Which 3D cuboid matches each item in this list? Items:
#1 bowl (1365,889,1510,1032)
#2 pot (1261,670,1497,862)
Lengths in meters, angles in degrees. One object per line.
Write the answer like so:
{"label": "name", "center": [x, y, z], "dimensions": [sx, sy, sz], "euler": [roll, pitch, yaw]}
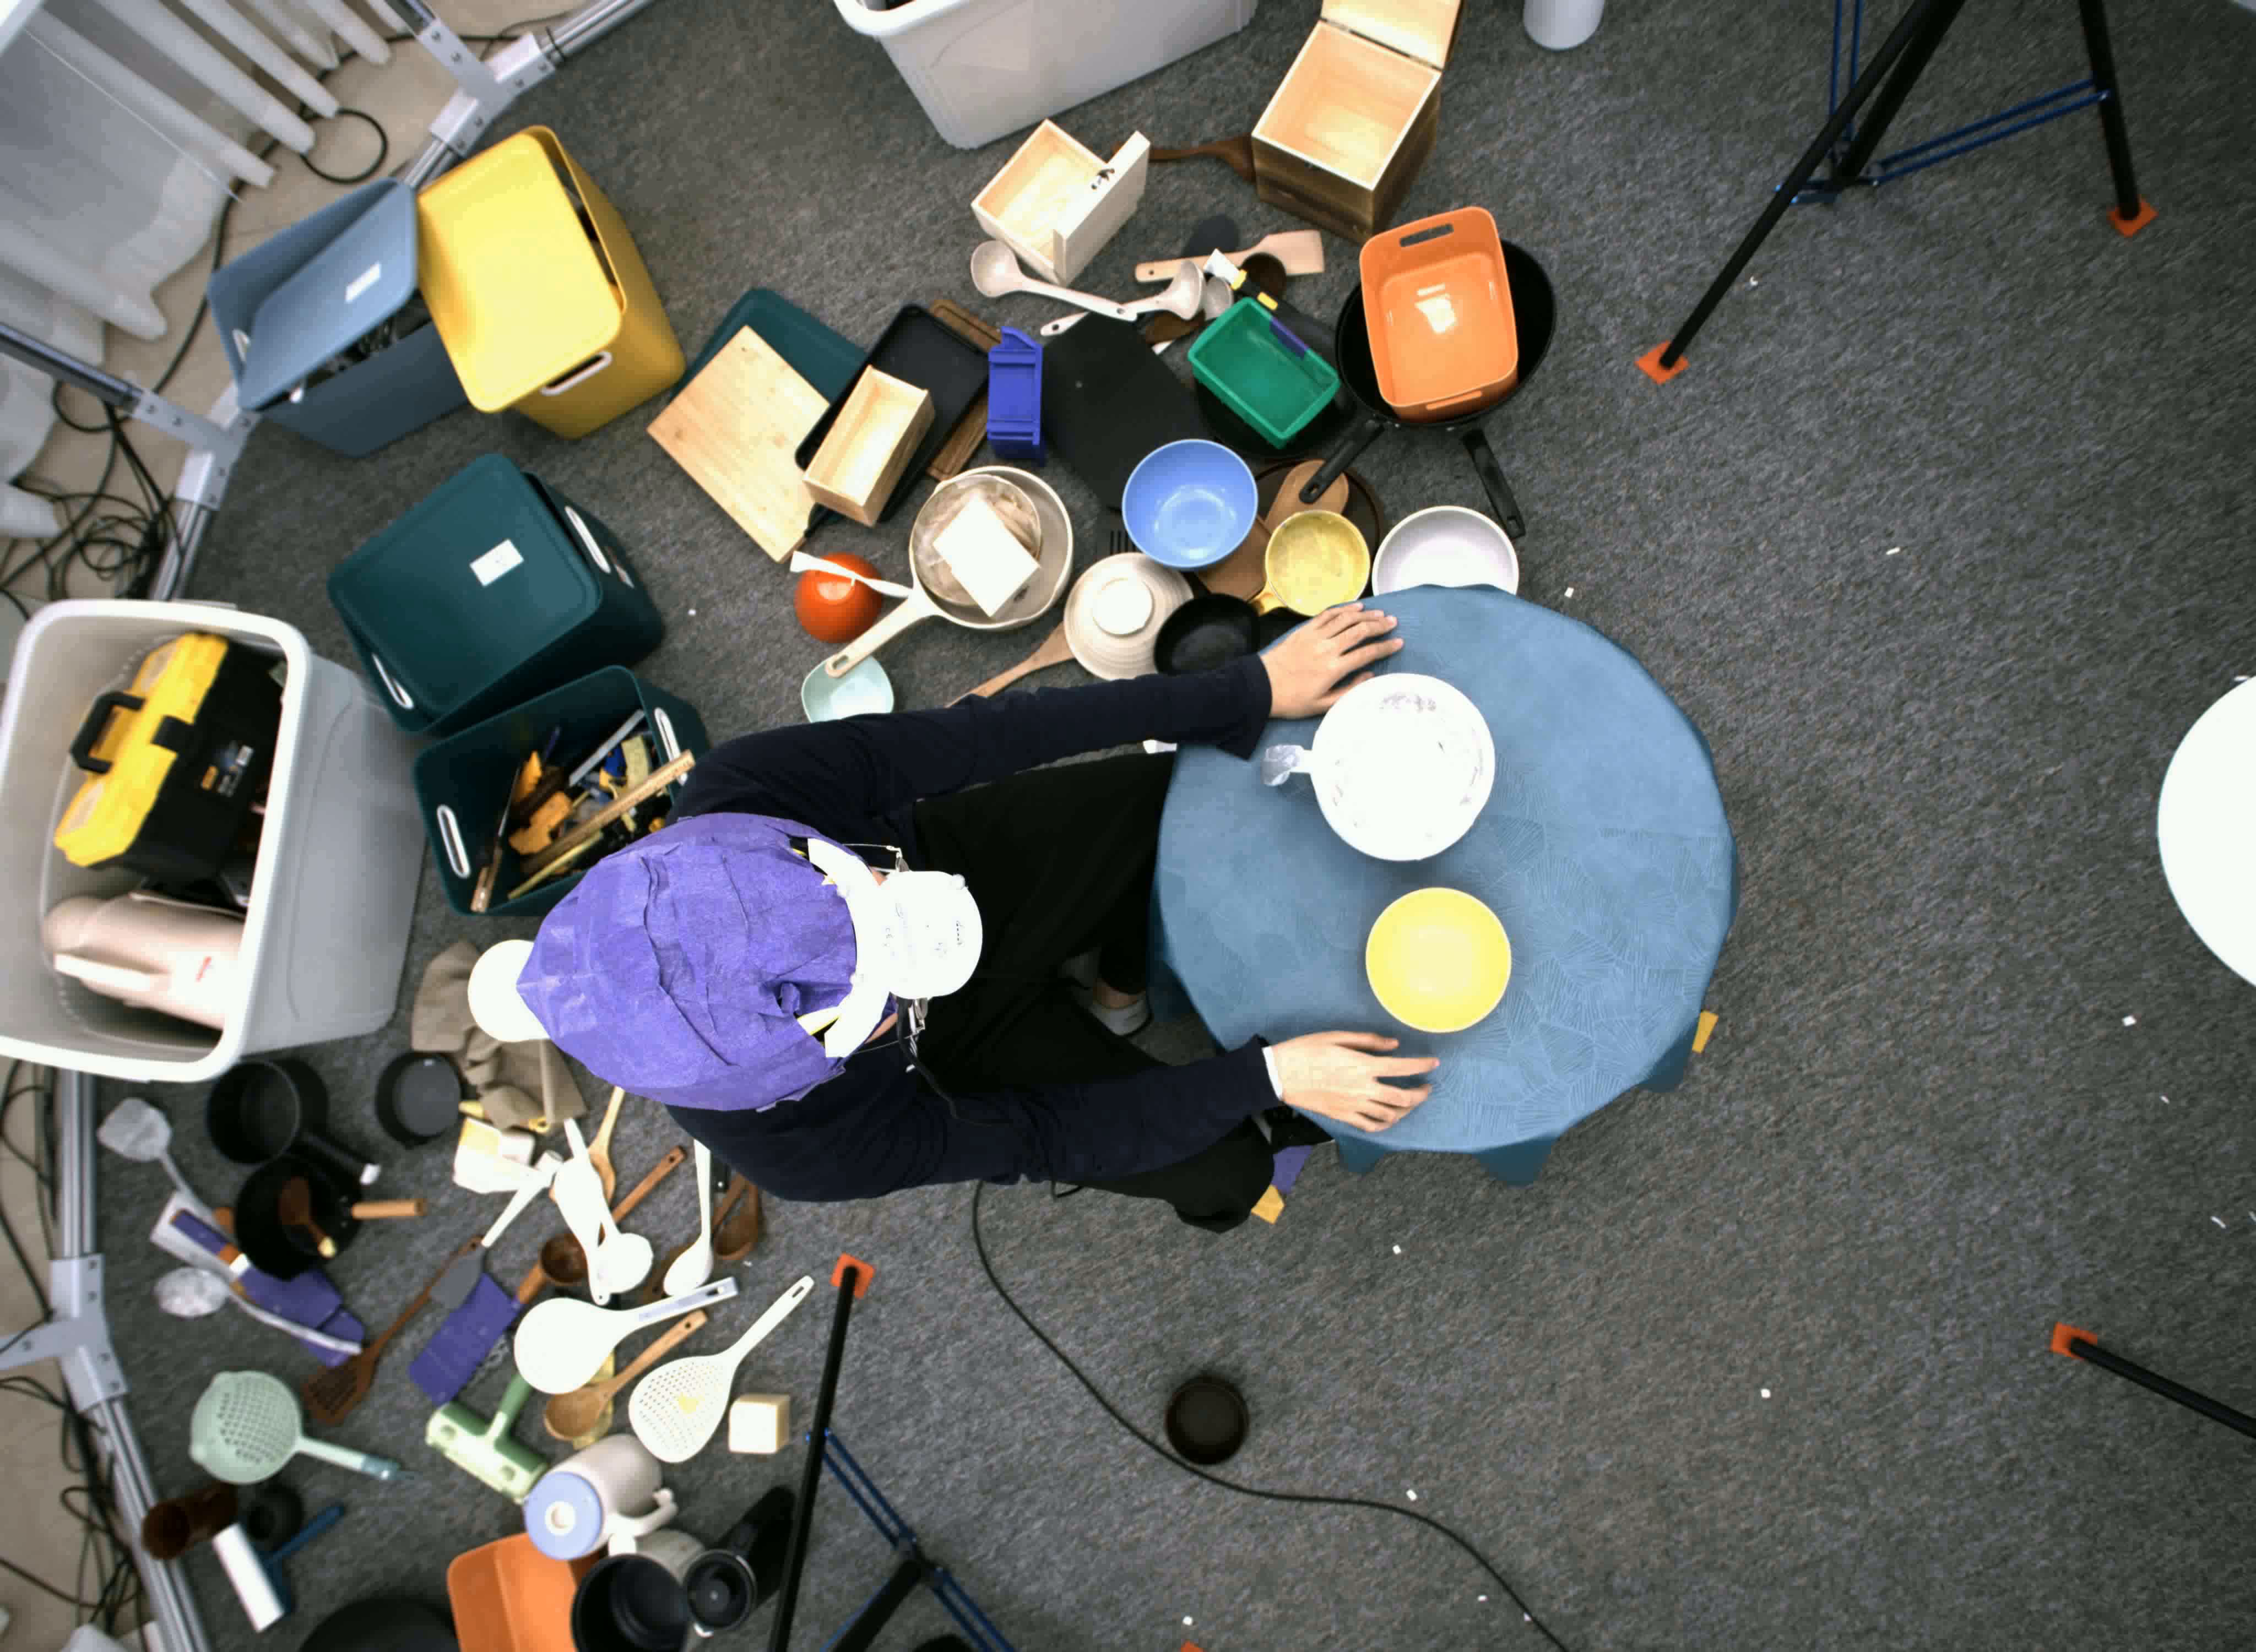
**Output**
{"label": "bowl", "center": [0.316, 0.137, 1.416], "dimensions": [0.146, 0.060, 0.144], "euler": [-1, 85, 10]}
{"label": "pot", "center": [0.250, -0.058, 1.401], "dimensions": [0.234, 0.137, 0.177], "euler": [3, 83, 10]}
